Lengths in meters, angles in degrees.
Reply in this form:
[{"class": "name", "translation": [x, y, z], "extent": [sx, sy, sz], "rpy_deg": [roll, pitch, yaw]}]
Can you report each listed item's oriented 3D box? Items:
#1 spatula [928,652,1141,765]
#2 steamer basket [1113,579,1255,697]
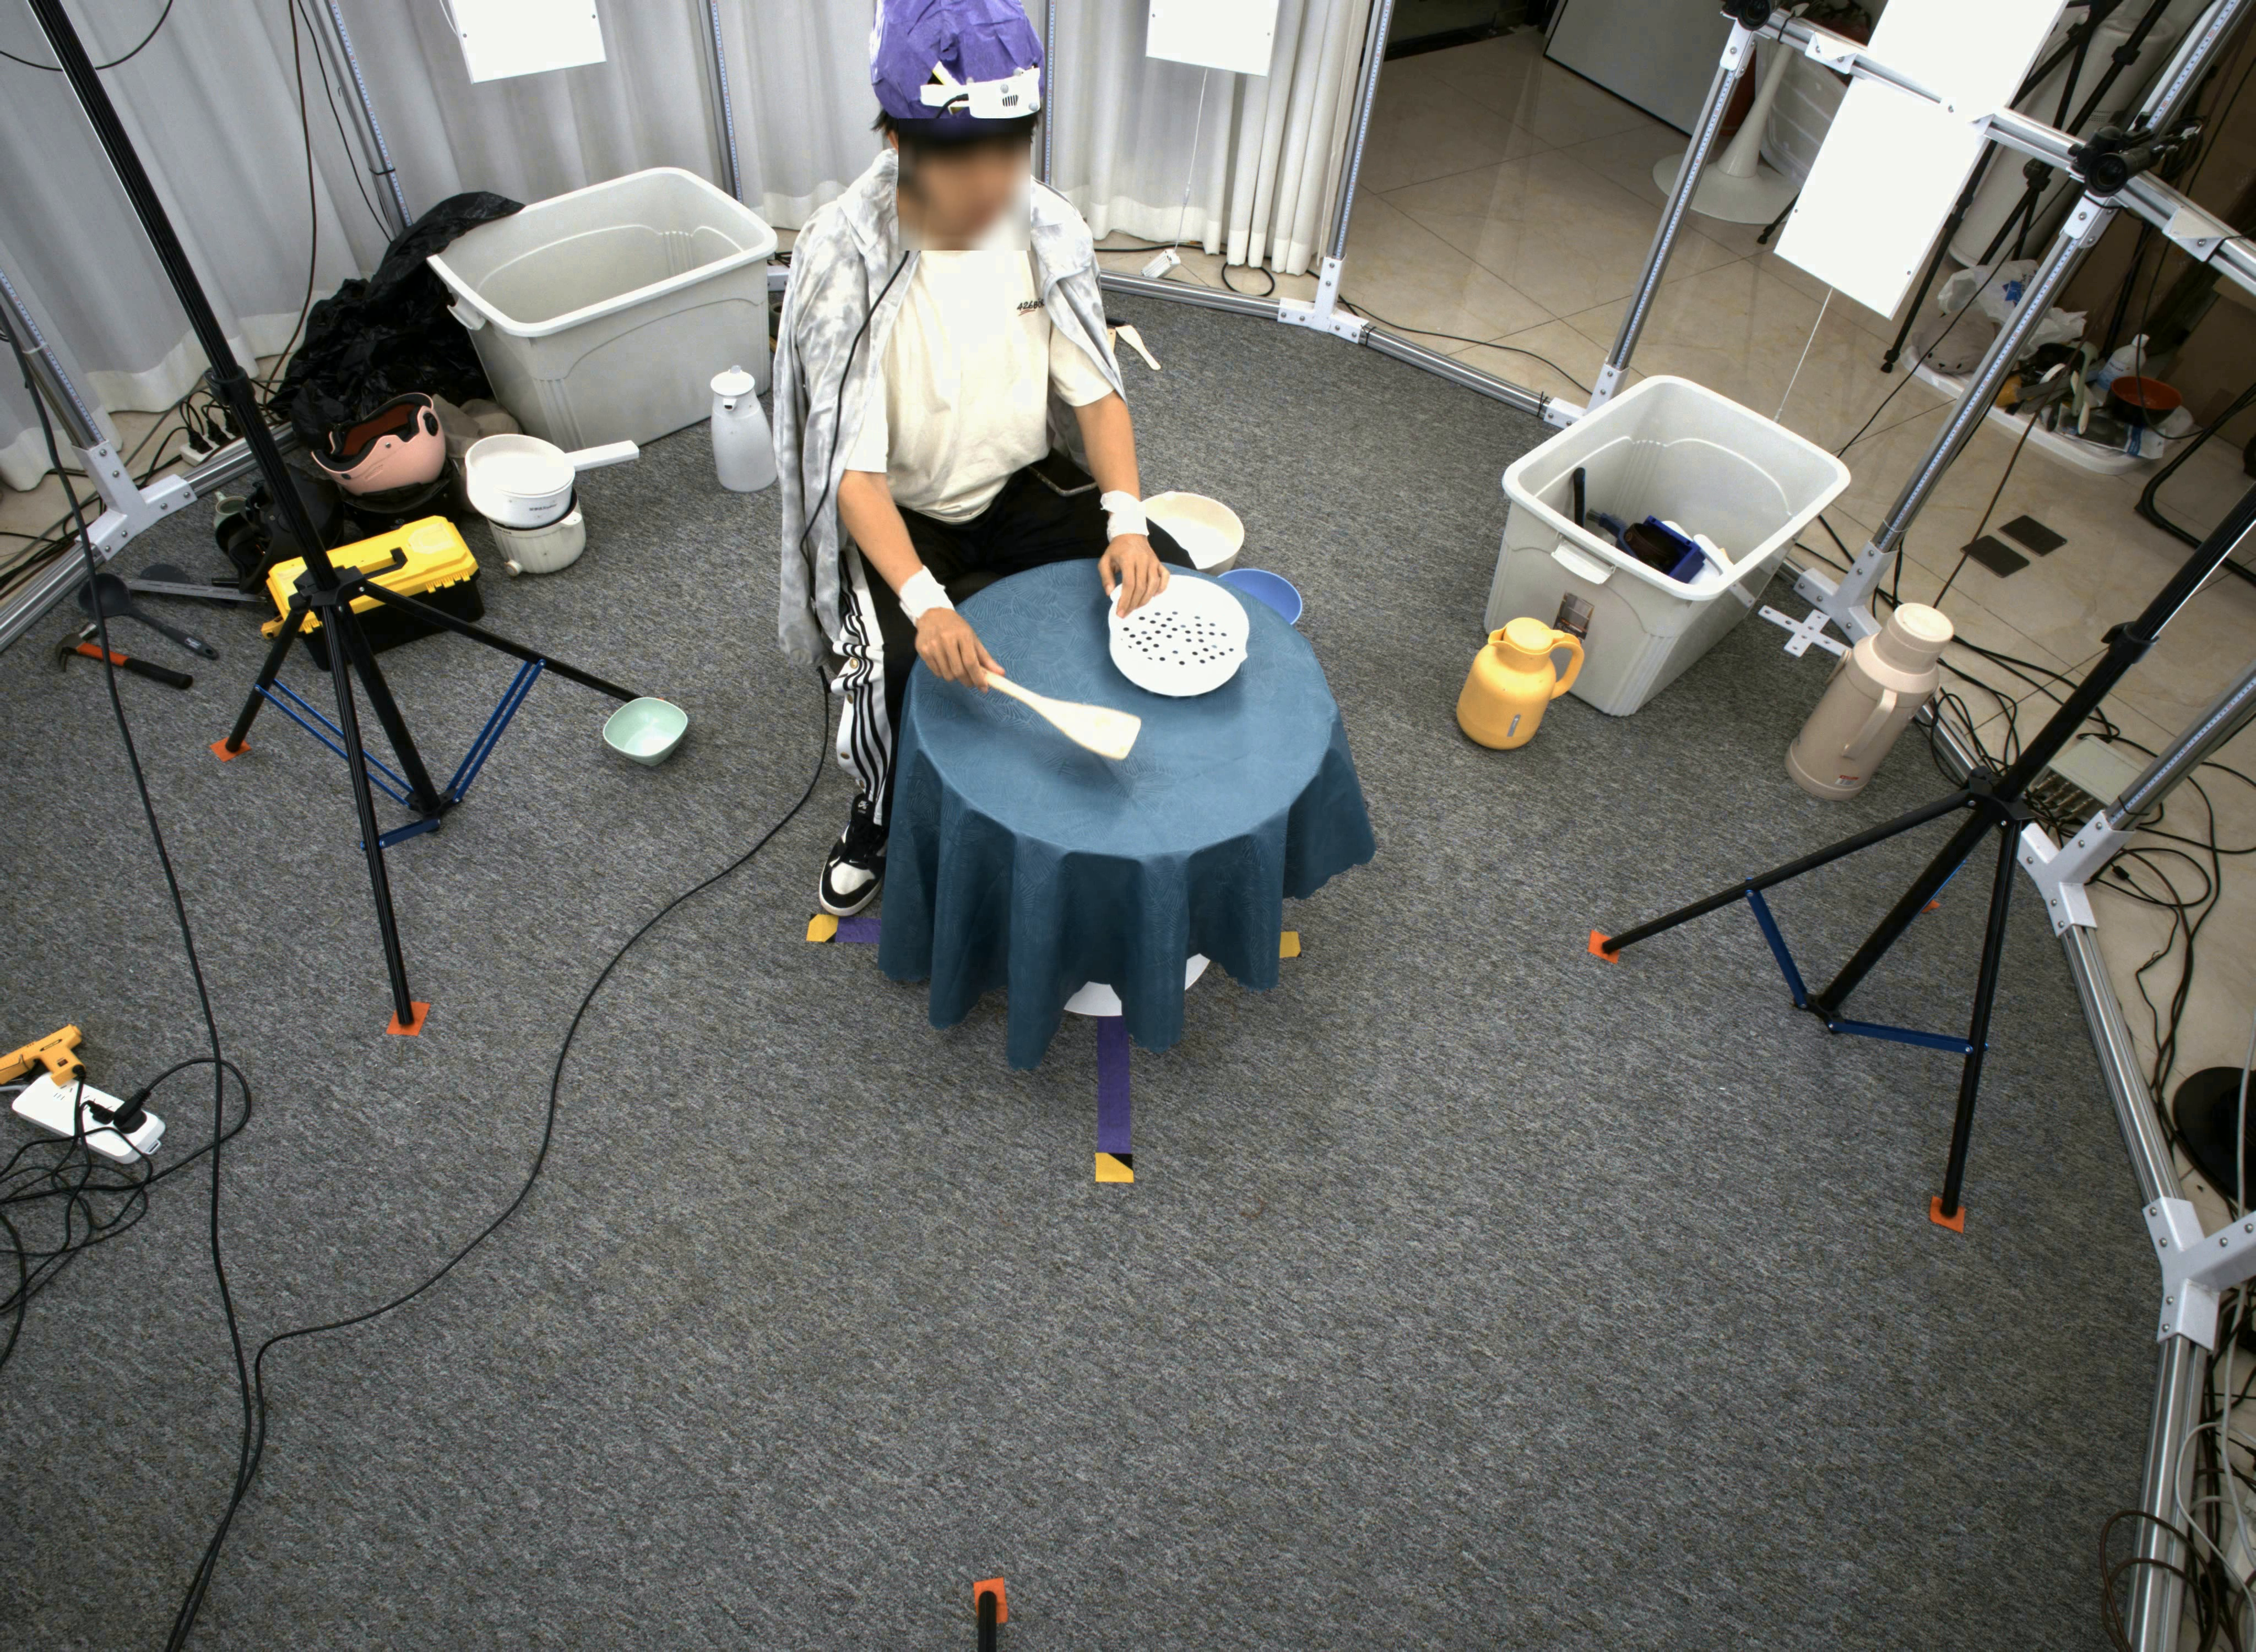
[{"class": "spatula", "translation": [-0.129, -0.167, 1.715], "extent": [0.330, 0.016, 0.081], "rpy_deg": [27, 51, 17]}, {"class": "steamer basket", "translation": [0.077, -0.271, 1.860], "extent": [0.234, 0.067, 0.204], "rpy_deg": [35, 54, 25]}]
